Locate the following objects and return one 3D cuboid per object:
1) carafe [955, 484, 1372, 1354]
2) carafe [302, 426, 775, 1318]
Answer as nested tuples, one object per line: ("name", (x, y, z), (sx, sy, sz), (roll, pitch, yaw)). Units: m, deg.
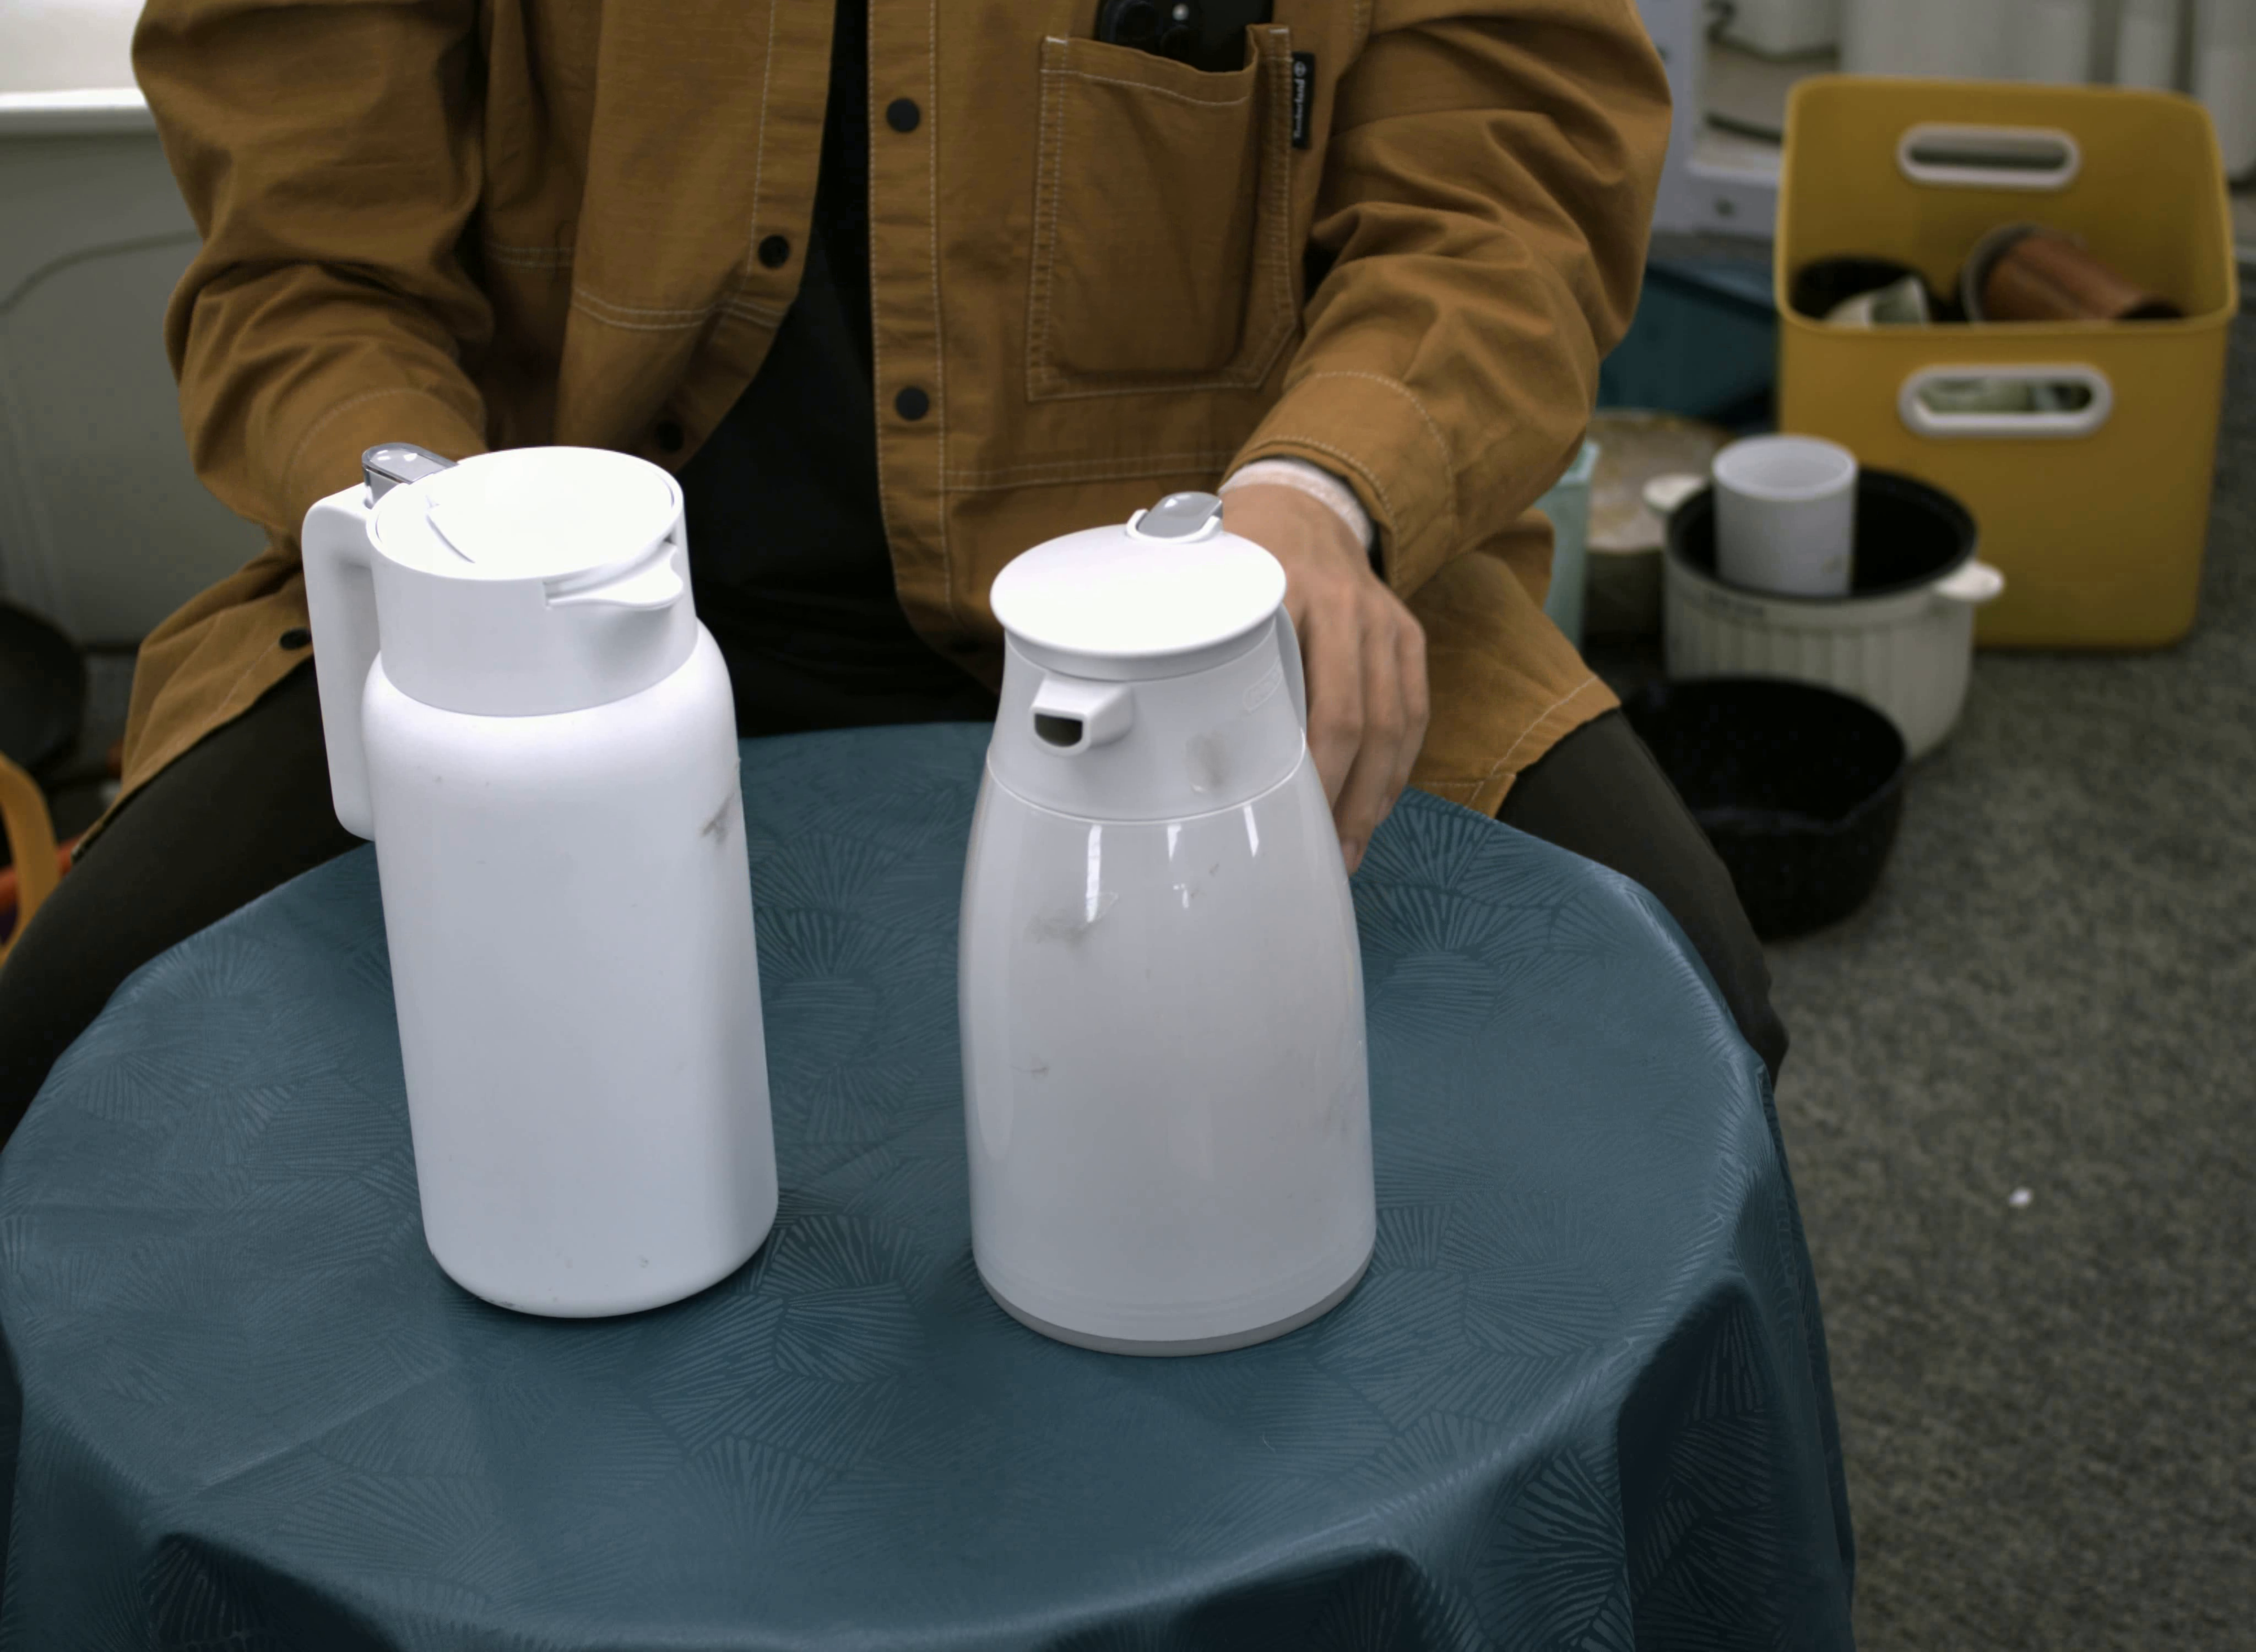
("carafe", (0.015, 0.018, 1.790), (0.131, 0.246, 0.170), (8, 27, 21))
("carafe", (-0.193, 0.013, 1.801), (0.172, 0.266, 0.125), (21, 37, 40))
